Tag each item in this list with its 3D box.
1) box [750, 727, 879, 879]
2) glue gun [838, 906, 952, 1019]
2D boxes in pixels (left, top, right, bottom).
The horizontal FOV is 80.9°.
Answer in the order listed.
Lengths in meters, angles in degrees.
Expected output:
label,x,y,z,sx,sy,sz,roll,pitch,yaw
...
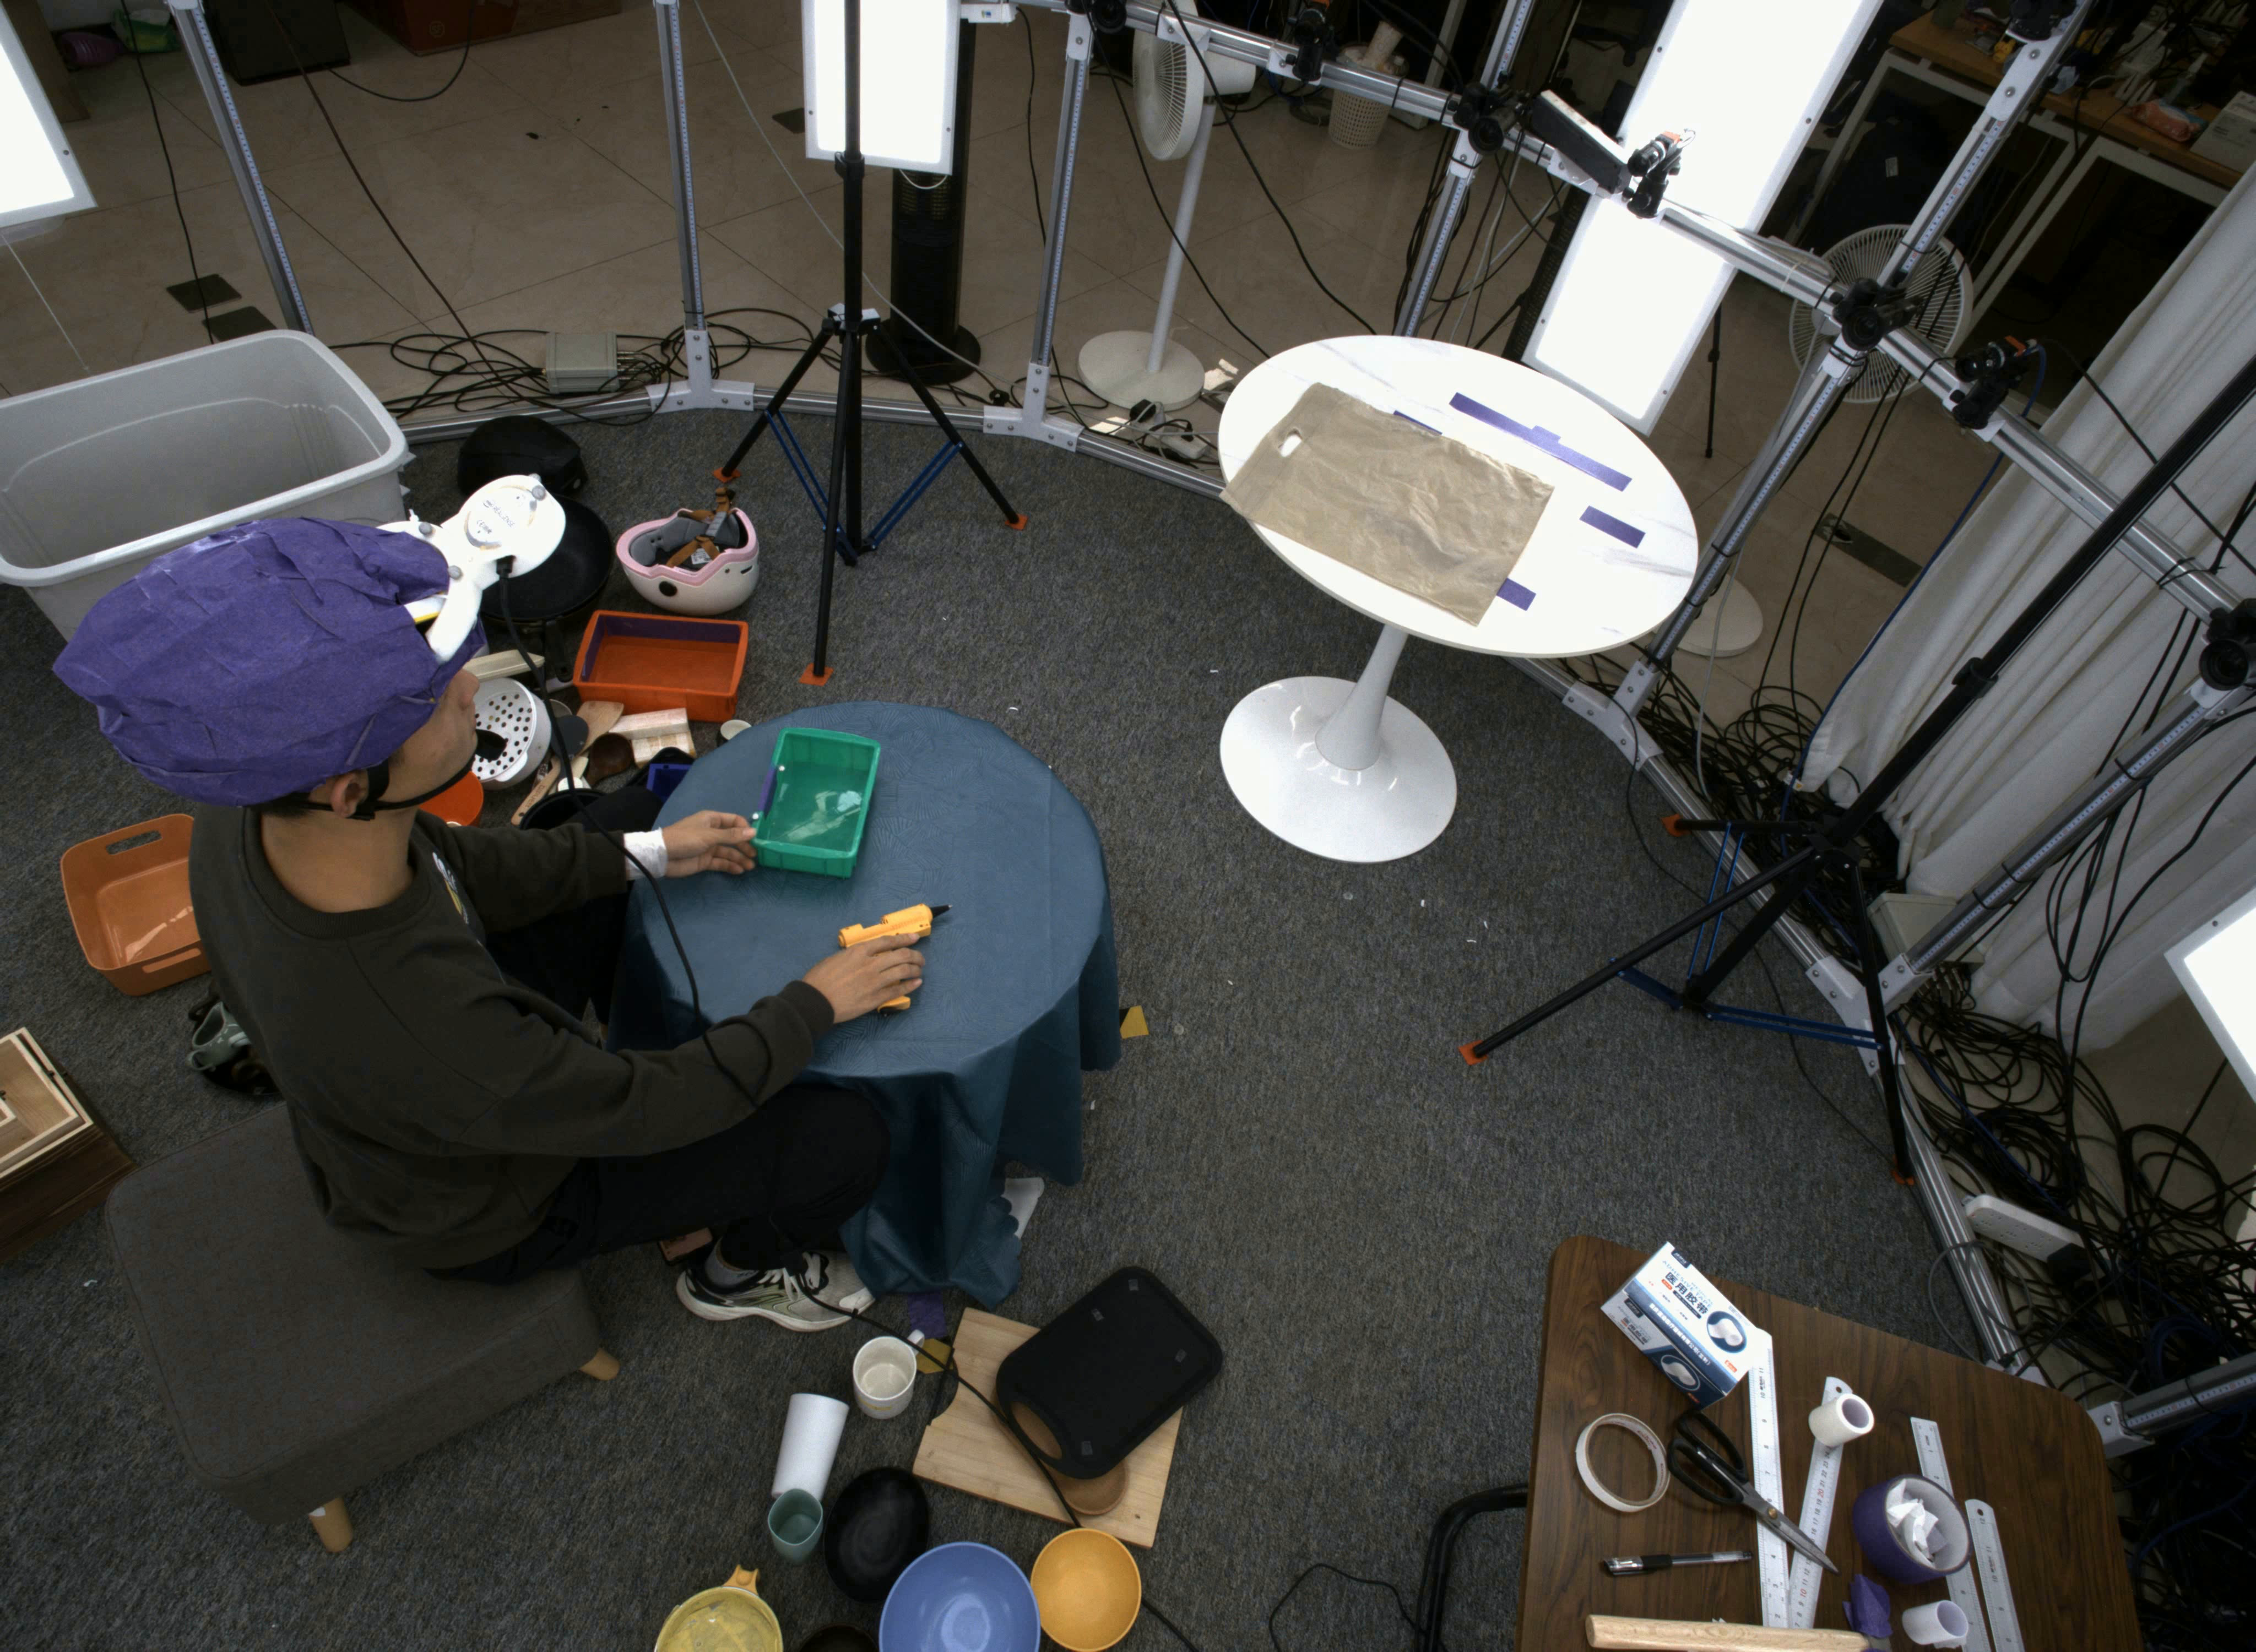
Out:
label,x,y,z,sx,sy,sz,roll,pitch,yaw
box,-0.407,-0.027,1.703,0.138,0.067,0.207,6,55,-6
glue gun,-0.269,0.158,1.626,0.152,0.031,0.130,-22,64,-27
